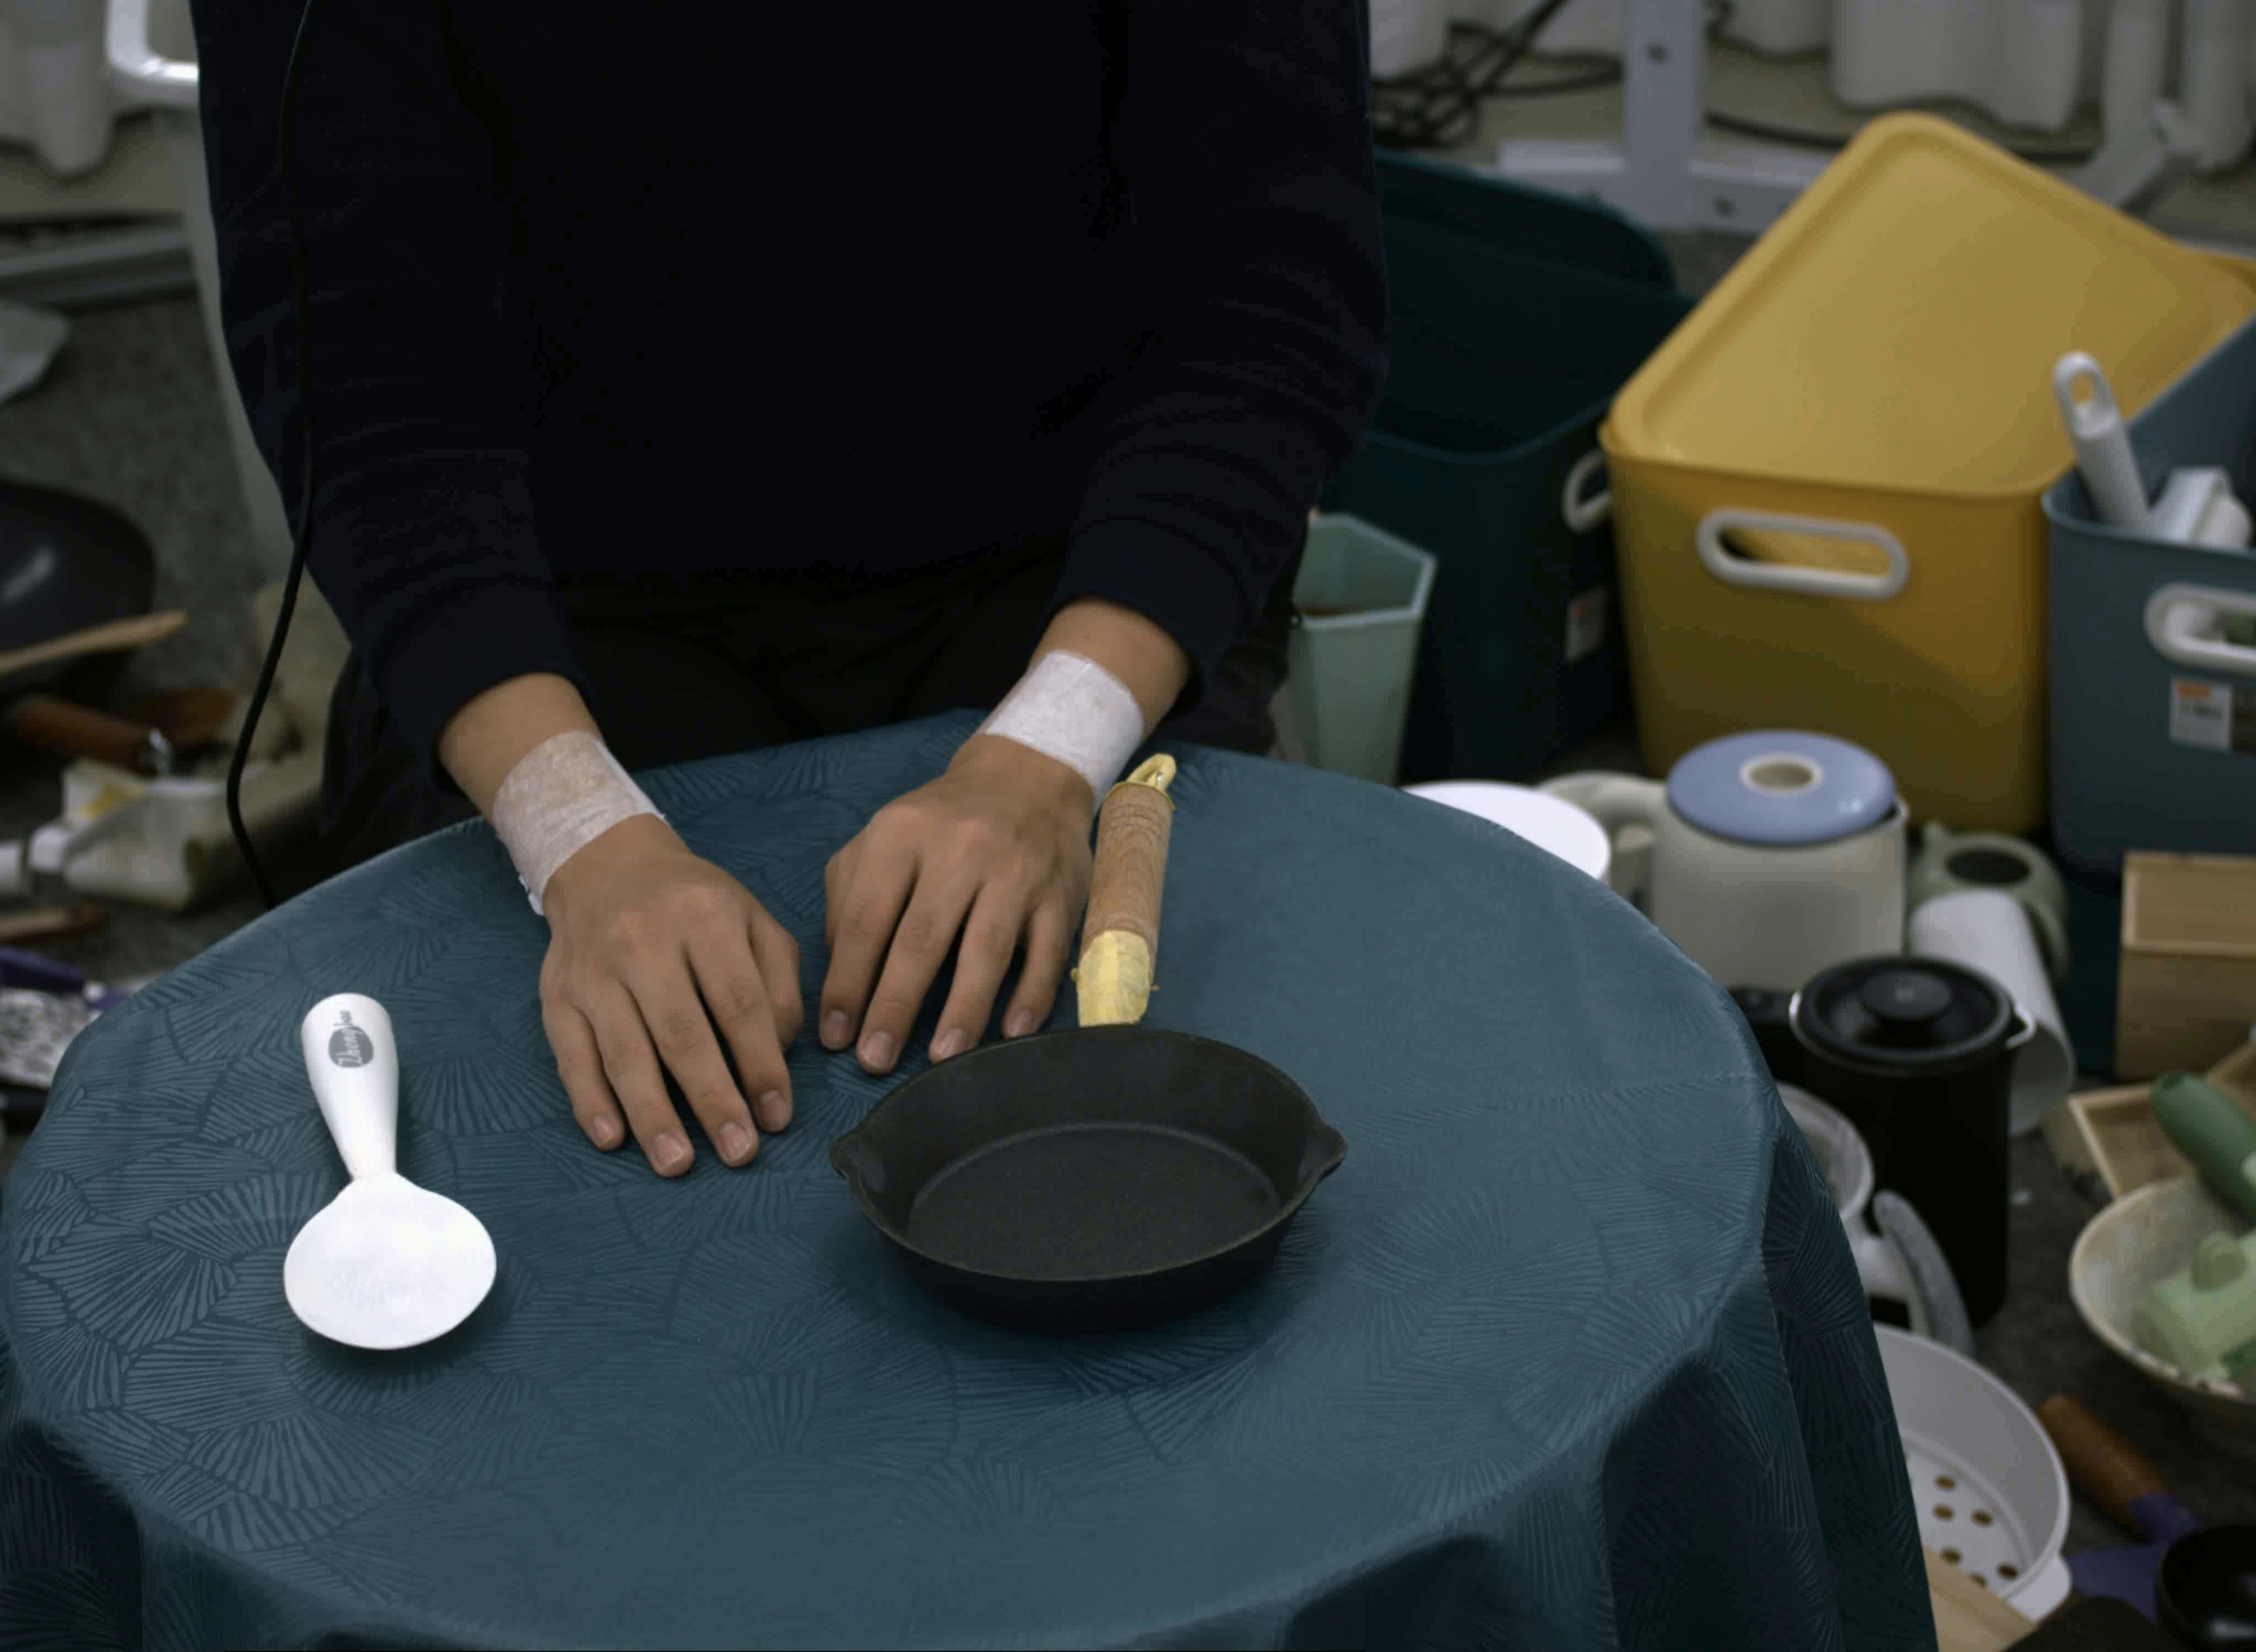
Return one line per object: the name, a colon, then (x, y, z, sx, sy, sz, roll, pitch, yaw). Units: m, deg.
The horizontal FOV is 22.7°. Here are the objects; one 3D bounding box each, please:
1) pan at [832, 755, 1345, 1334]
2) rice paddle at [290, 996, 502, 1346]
pan: (-0.004, 0.071, 1.905, 0.168, 0.049, 0.330, 0, 29, 7)
rice paddle: (-0.250, 0.117, 1.865, 0.069, 0.029, 0.207, -10, 28, -9)
